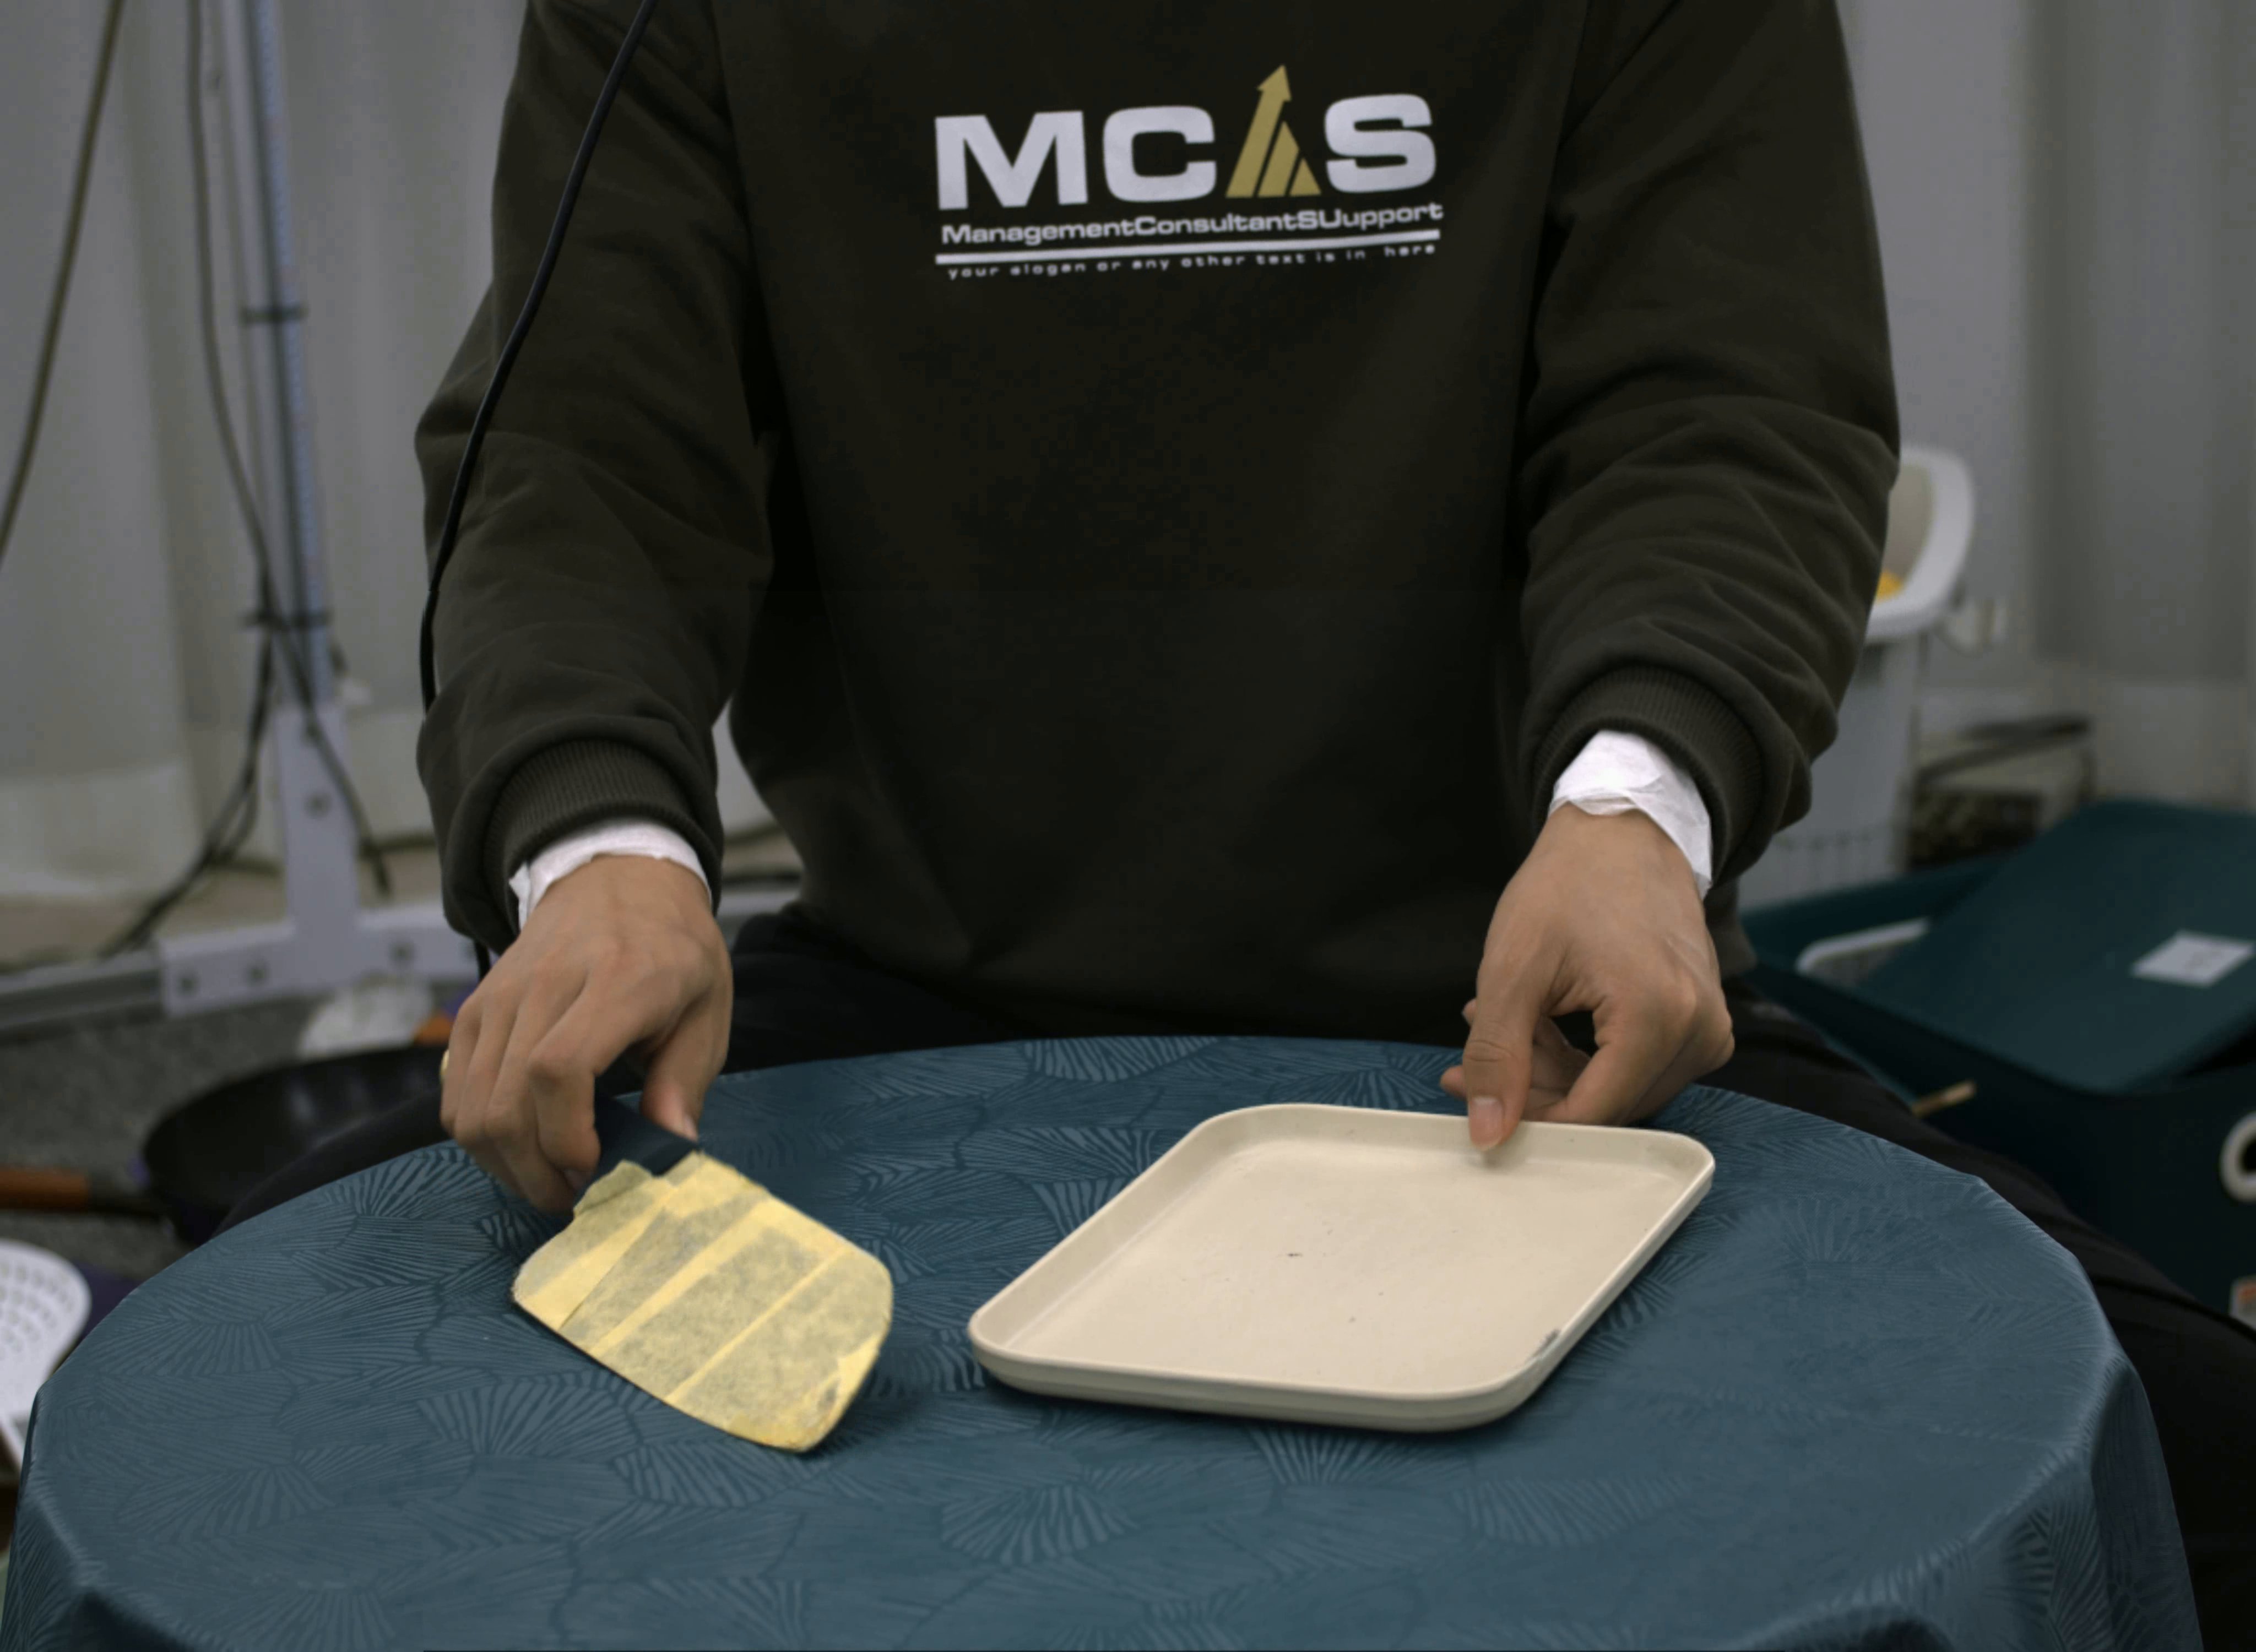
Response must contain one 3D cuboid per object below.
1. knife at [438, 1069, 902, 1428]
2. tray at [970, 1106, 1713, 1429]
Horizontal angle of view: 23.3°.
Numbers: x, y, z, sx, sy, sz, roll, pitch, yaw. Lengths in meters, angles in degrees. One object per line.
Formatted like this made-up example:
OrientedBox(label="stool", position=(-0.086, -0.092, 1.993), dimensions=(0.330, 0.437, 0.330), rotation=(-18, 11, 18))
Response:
OrientedBox(label="knife", position=(-0.149, 0.124, 1.633), dimensions=(0.081, 0.027, 0.292), rotation=(-34, 28, -19))
OrientedBox(label="tray", position=(0.067, 0.129, 1.616), dimensions=(0.171, 0.017, 0.240), rotation=(3, 15, 22))
